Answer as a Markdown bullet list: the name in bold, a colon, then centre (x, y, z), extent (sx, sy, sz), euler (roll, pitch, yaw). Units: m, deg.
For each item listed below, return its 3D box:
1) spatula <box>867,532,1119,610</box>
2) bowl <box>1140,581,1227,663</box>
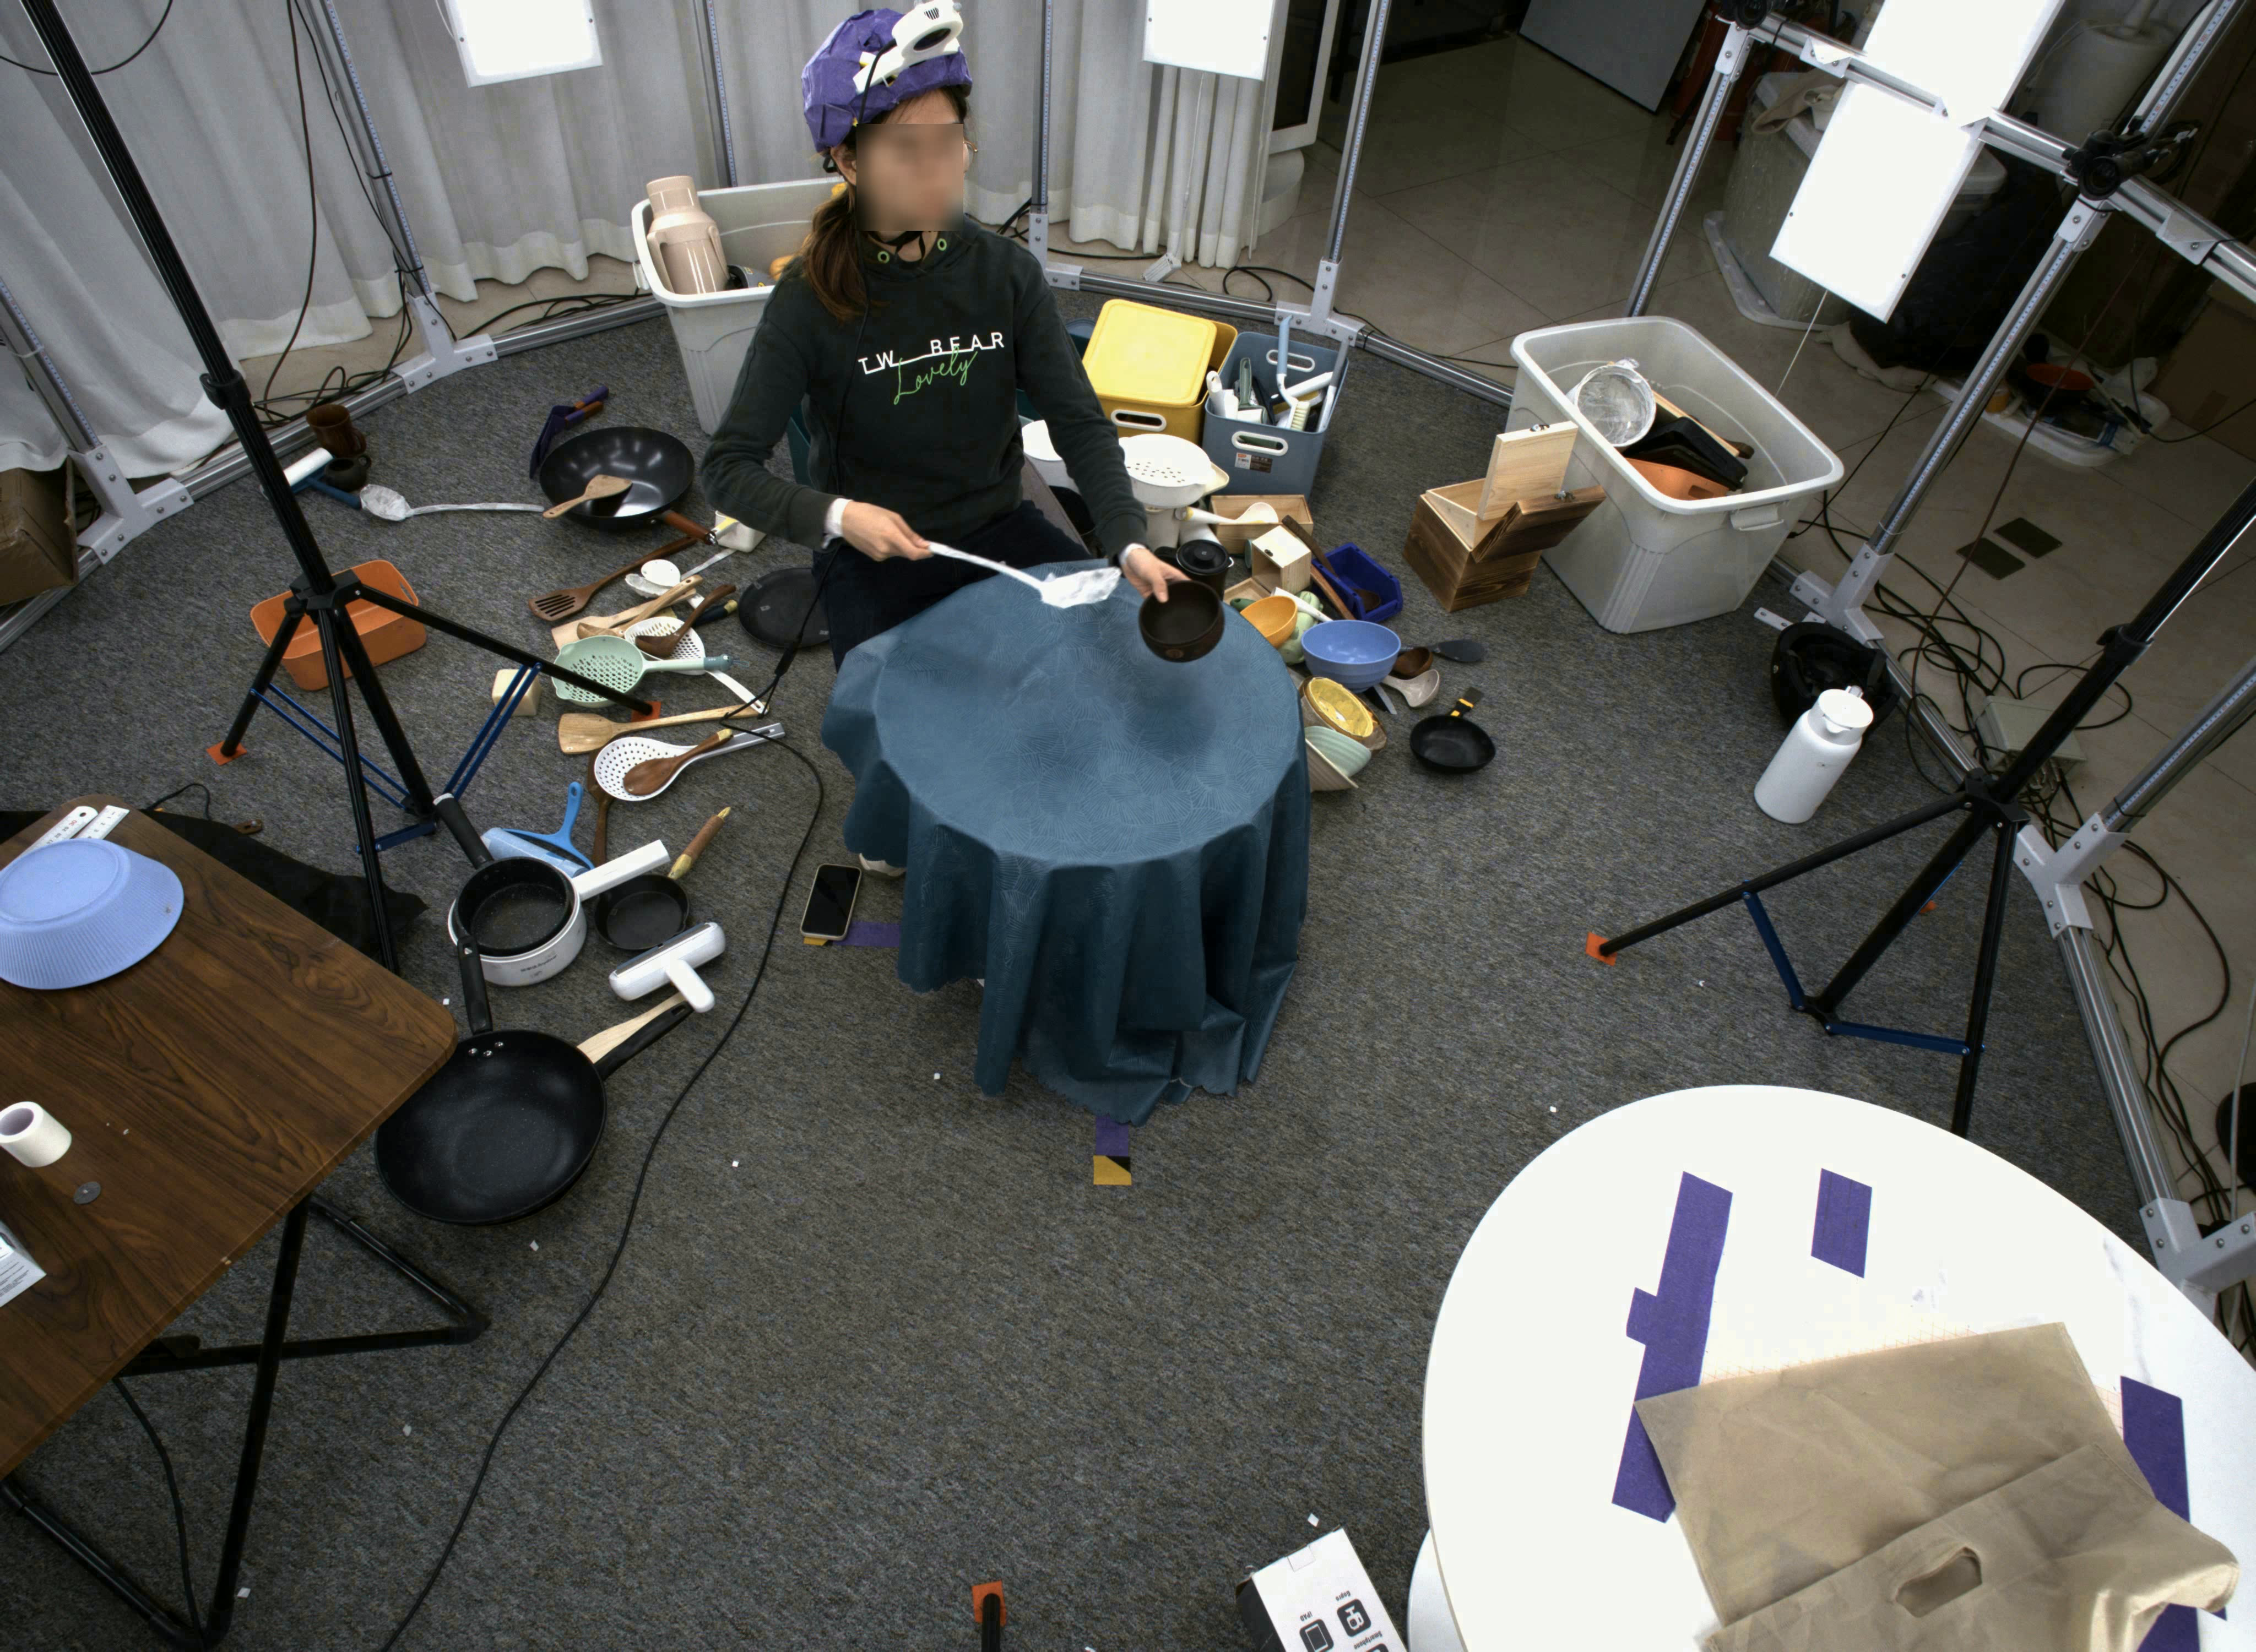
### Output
- **spatula**: centre (-0.191, -0.353, 1.736), extent (0.366, 0.044, 0.100), euler (19, 43, 10)
- **bowl**: centre (0.081, -0.275, 1.783), extent (0.118, 0.068, 0.121), euler (-8, 54, 10)
